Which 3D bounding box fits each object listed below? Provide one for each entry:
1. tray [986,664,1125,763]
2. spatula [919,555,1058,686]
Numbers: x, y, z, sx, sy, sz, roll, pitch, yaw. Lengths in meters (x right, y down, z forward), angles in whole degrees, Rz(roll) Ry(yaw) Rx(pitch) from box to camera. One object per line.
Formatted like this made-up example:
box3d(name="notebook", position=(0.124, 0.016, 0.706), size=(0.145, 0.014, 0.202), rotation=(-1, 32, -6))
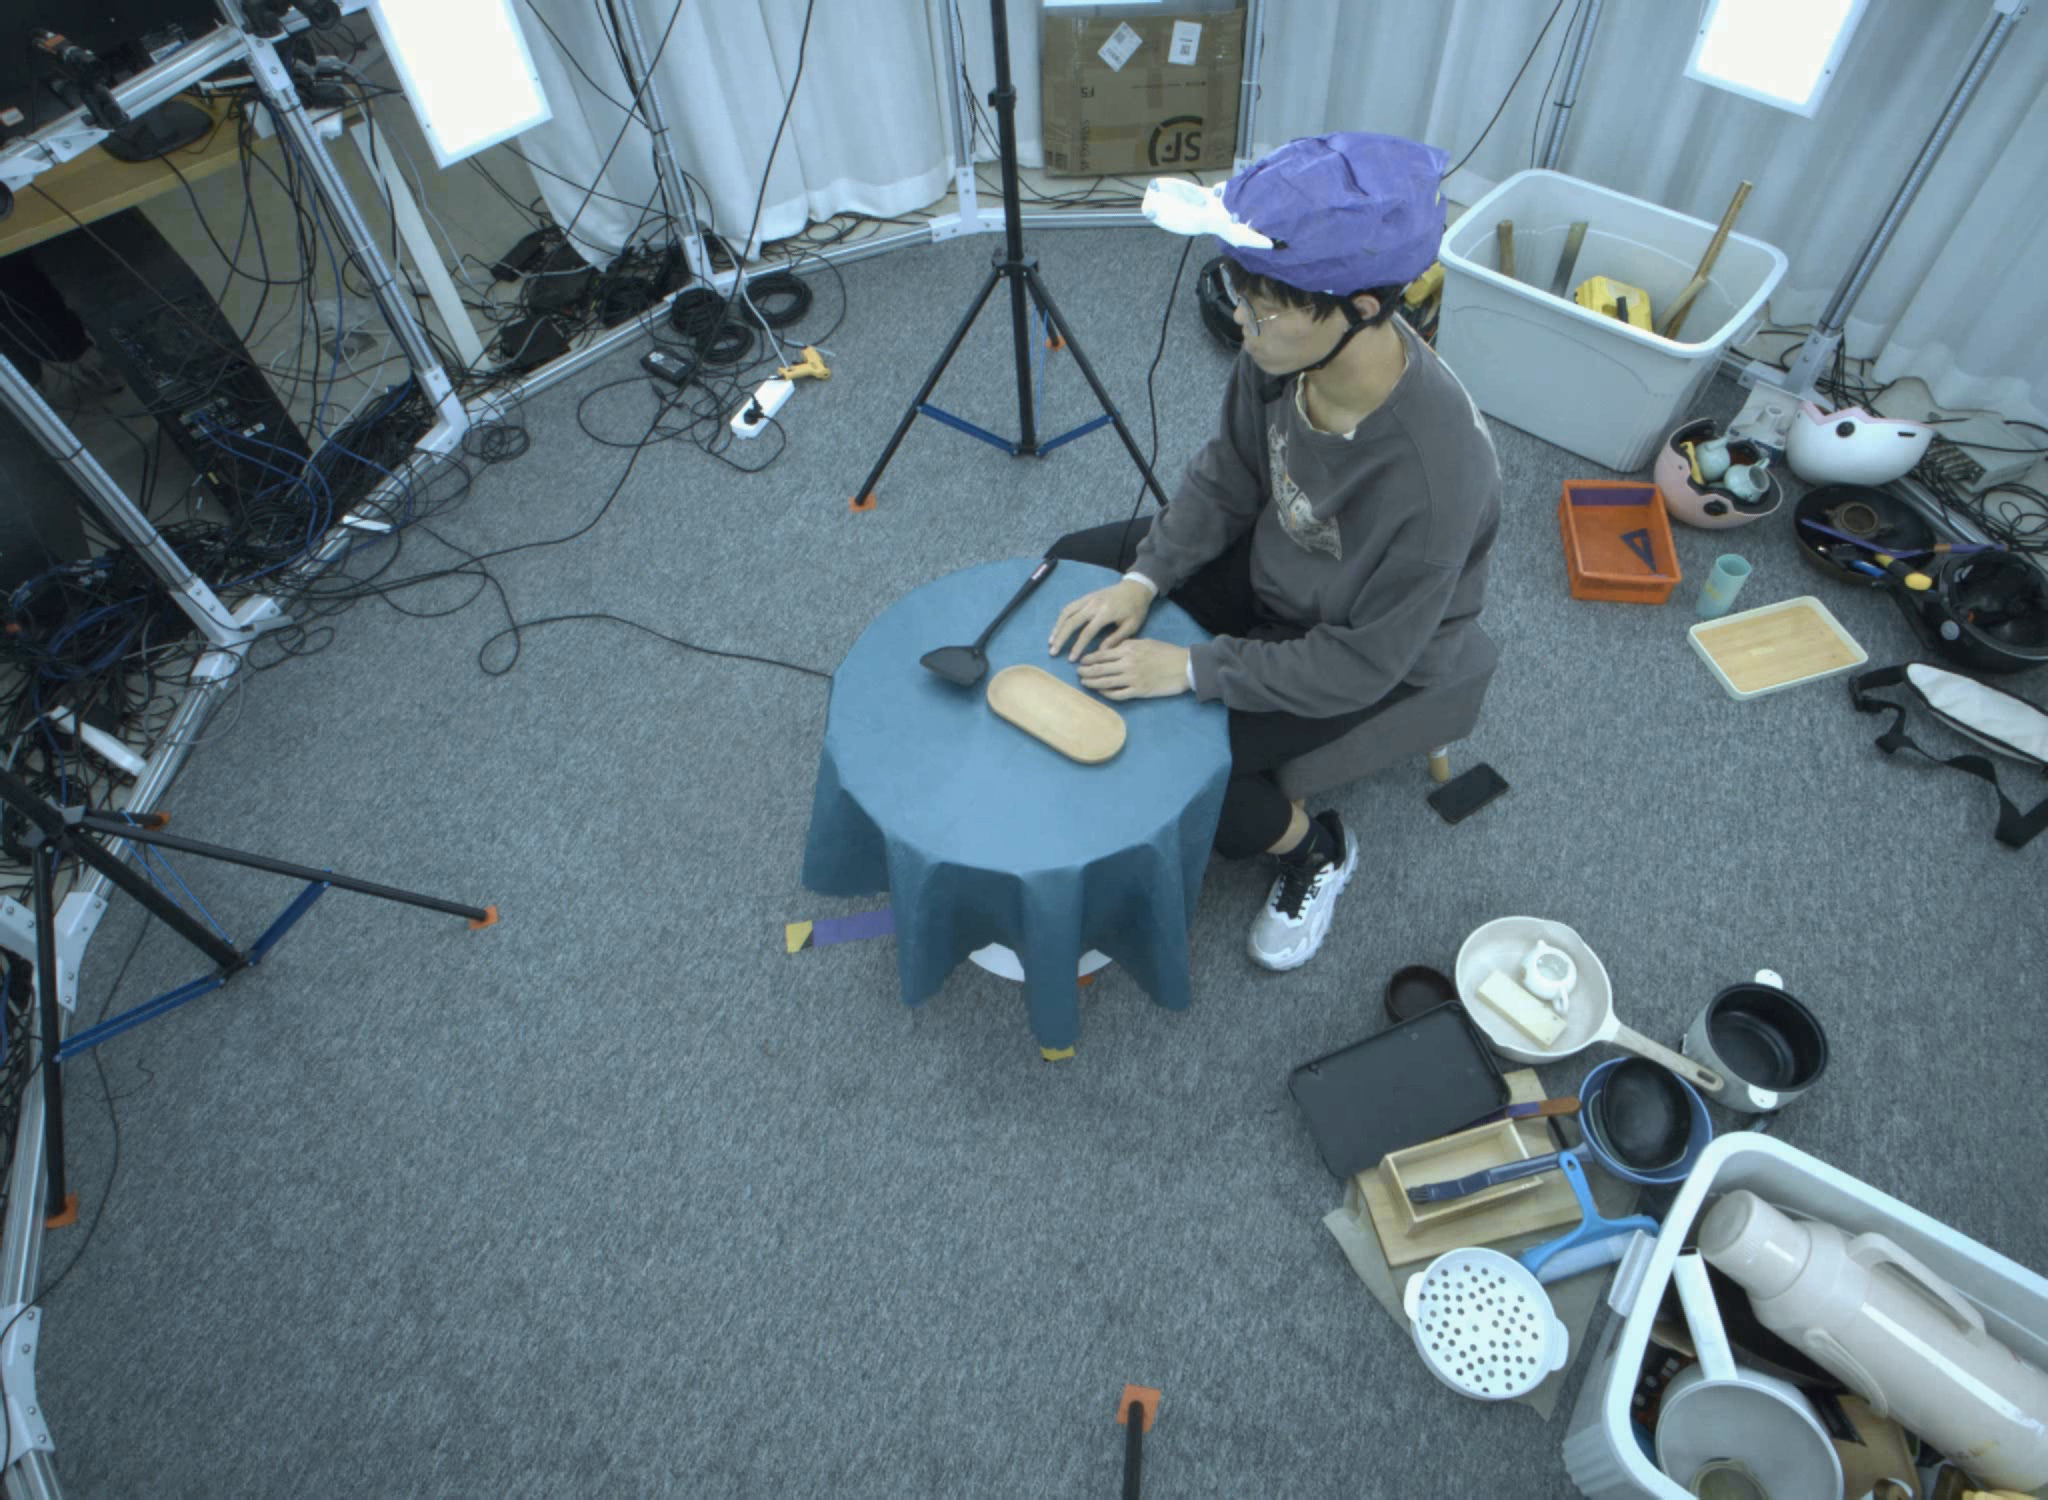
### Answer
box3d(name="tray", position=(0.045, -0.055, 1.813), size=(0.227, 0.020, 0.102), rotation=(31, 60, 23))
box3d(name="spatula", position=(-0.036, -0.213, 1.917), size=(0.098, 0.041, 0.327), rotation=(27, 59, 18))
